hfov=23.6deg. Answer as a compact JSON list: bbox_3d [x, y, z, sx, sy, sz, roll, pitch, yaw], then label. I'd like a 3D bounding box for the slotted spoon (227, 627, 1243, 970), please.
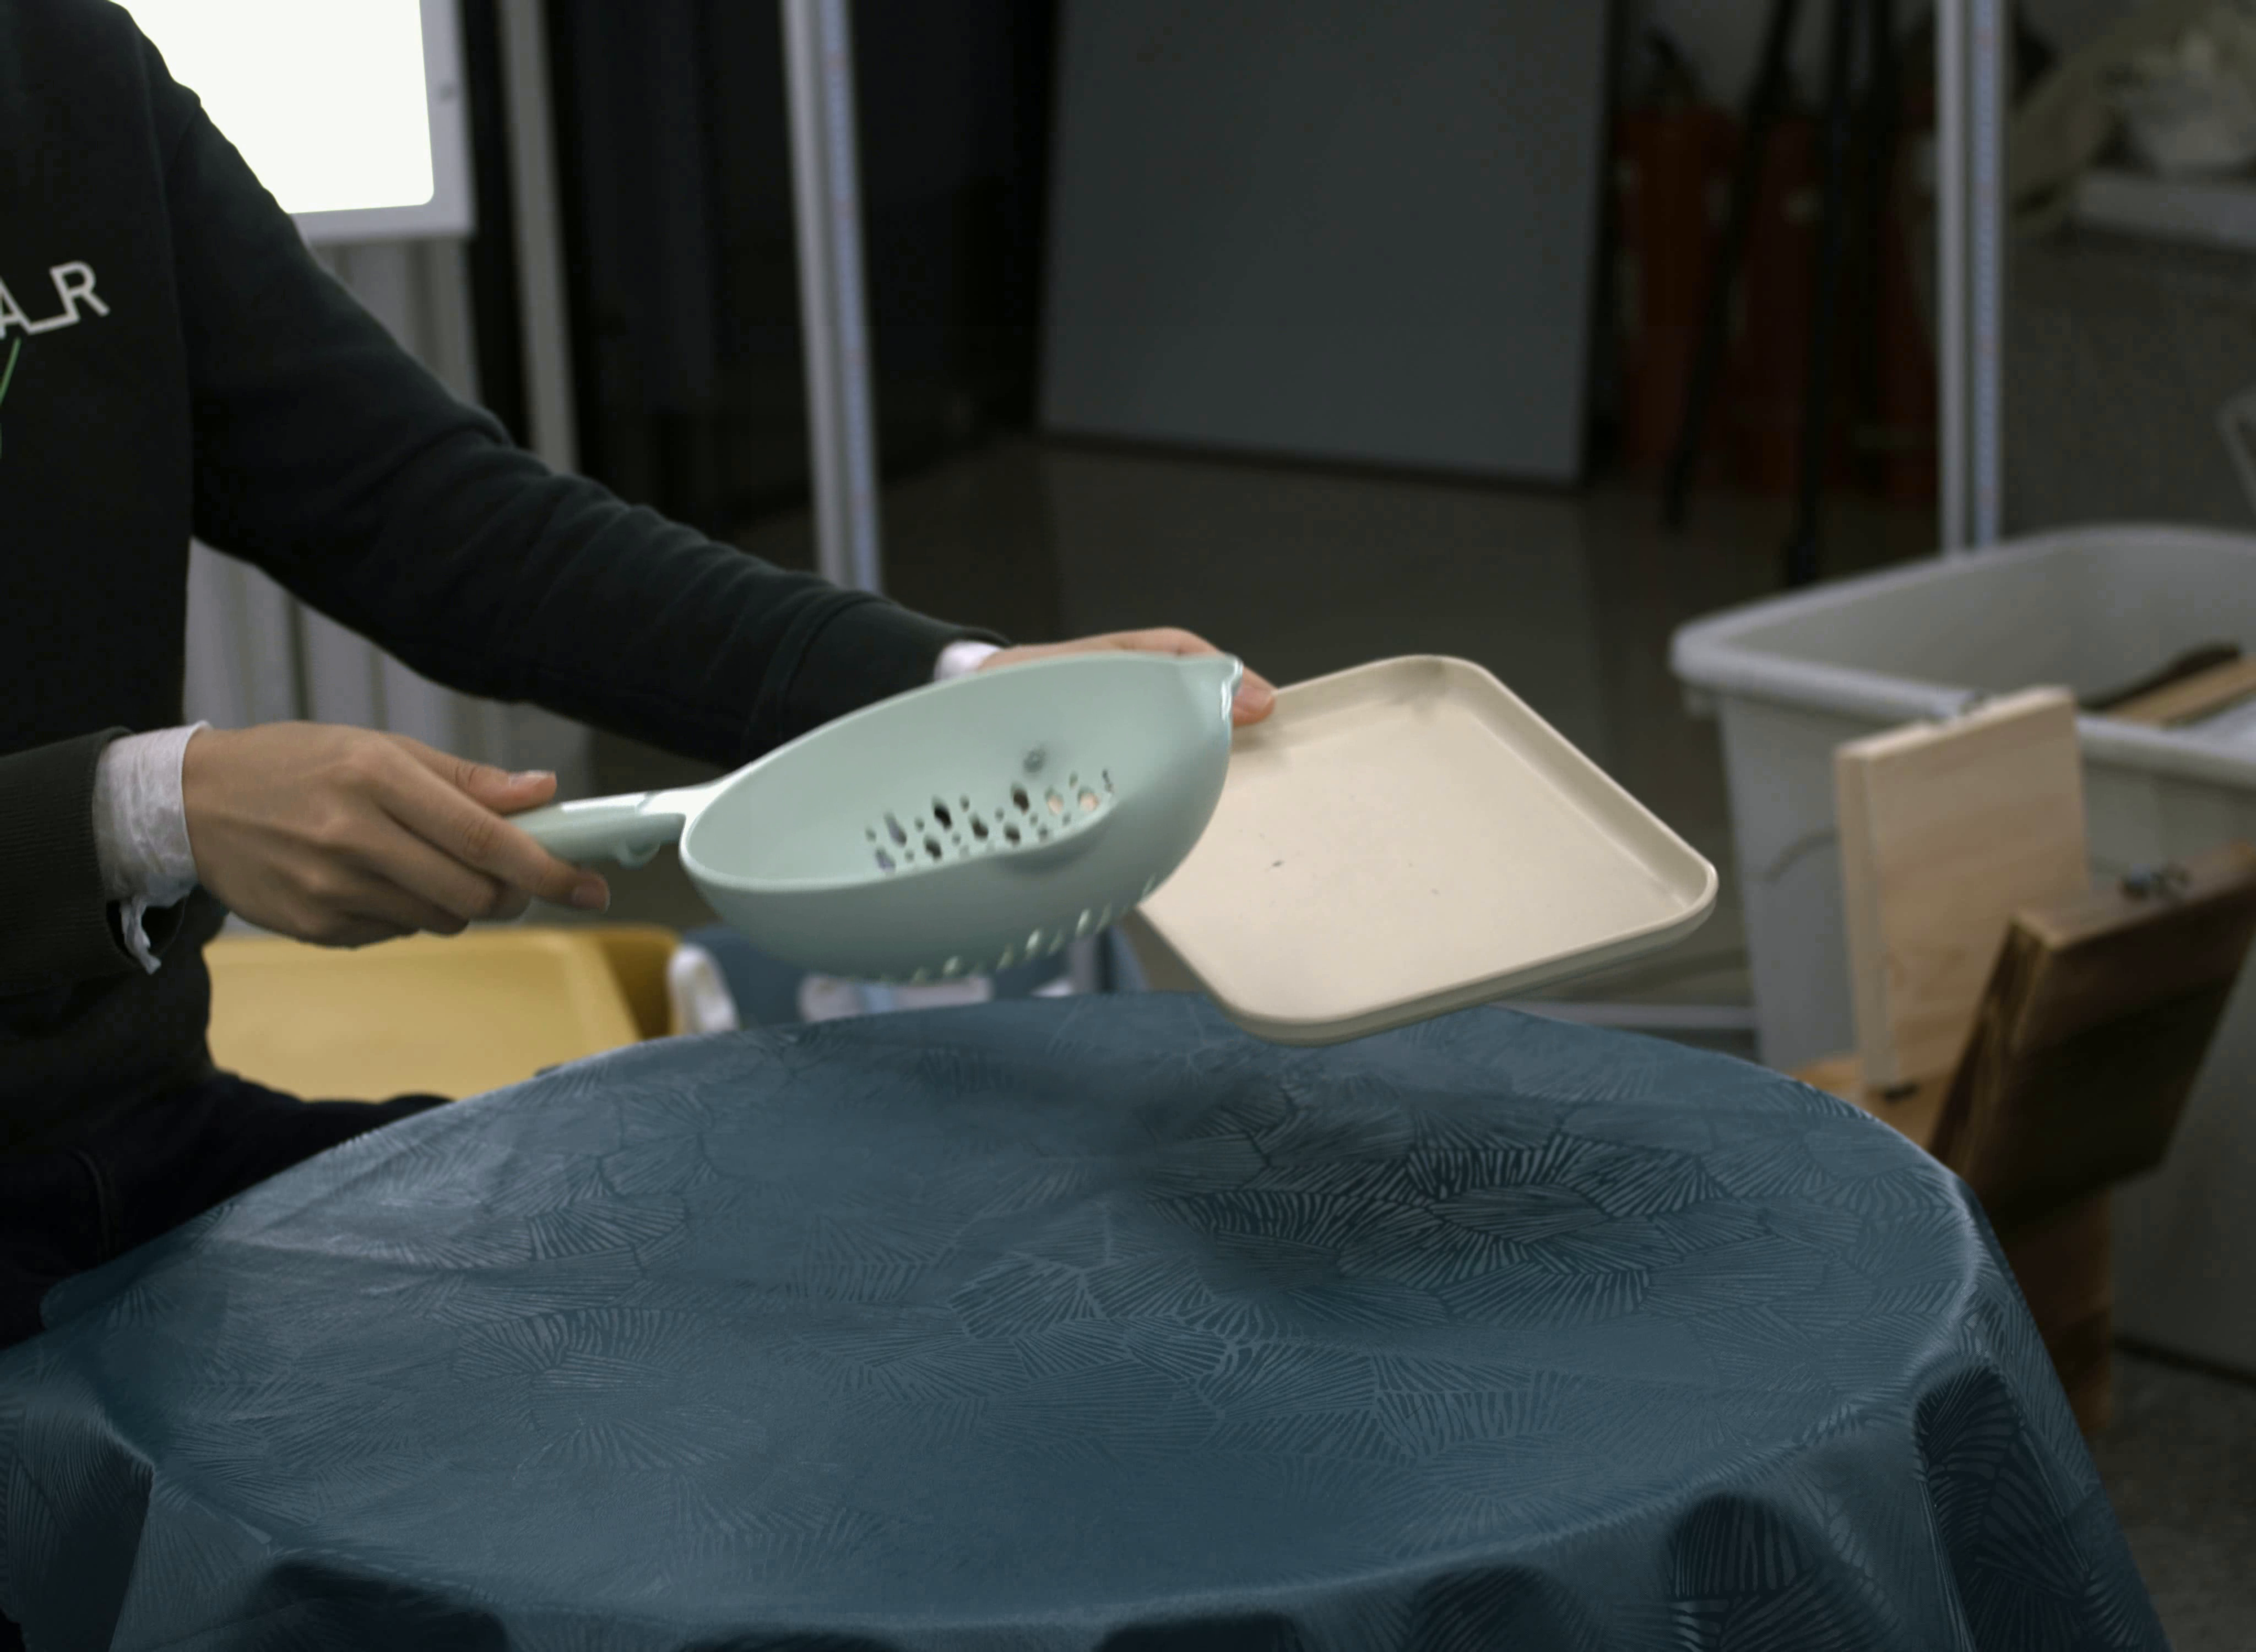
[{"bbox_3d":[-0.131,-0.001,1.639,0.359,0.076,0.167,1,24,26],"label":"slotted spoon"}]

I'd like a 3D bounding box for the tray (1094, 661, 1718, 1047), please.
[{"bbox_3d":[0.077,0.008,1.767,0.168,0.017,0.242,-16,25,-14],"label":"tray"}]
